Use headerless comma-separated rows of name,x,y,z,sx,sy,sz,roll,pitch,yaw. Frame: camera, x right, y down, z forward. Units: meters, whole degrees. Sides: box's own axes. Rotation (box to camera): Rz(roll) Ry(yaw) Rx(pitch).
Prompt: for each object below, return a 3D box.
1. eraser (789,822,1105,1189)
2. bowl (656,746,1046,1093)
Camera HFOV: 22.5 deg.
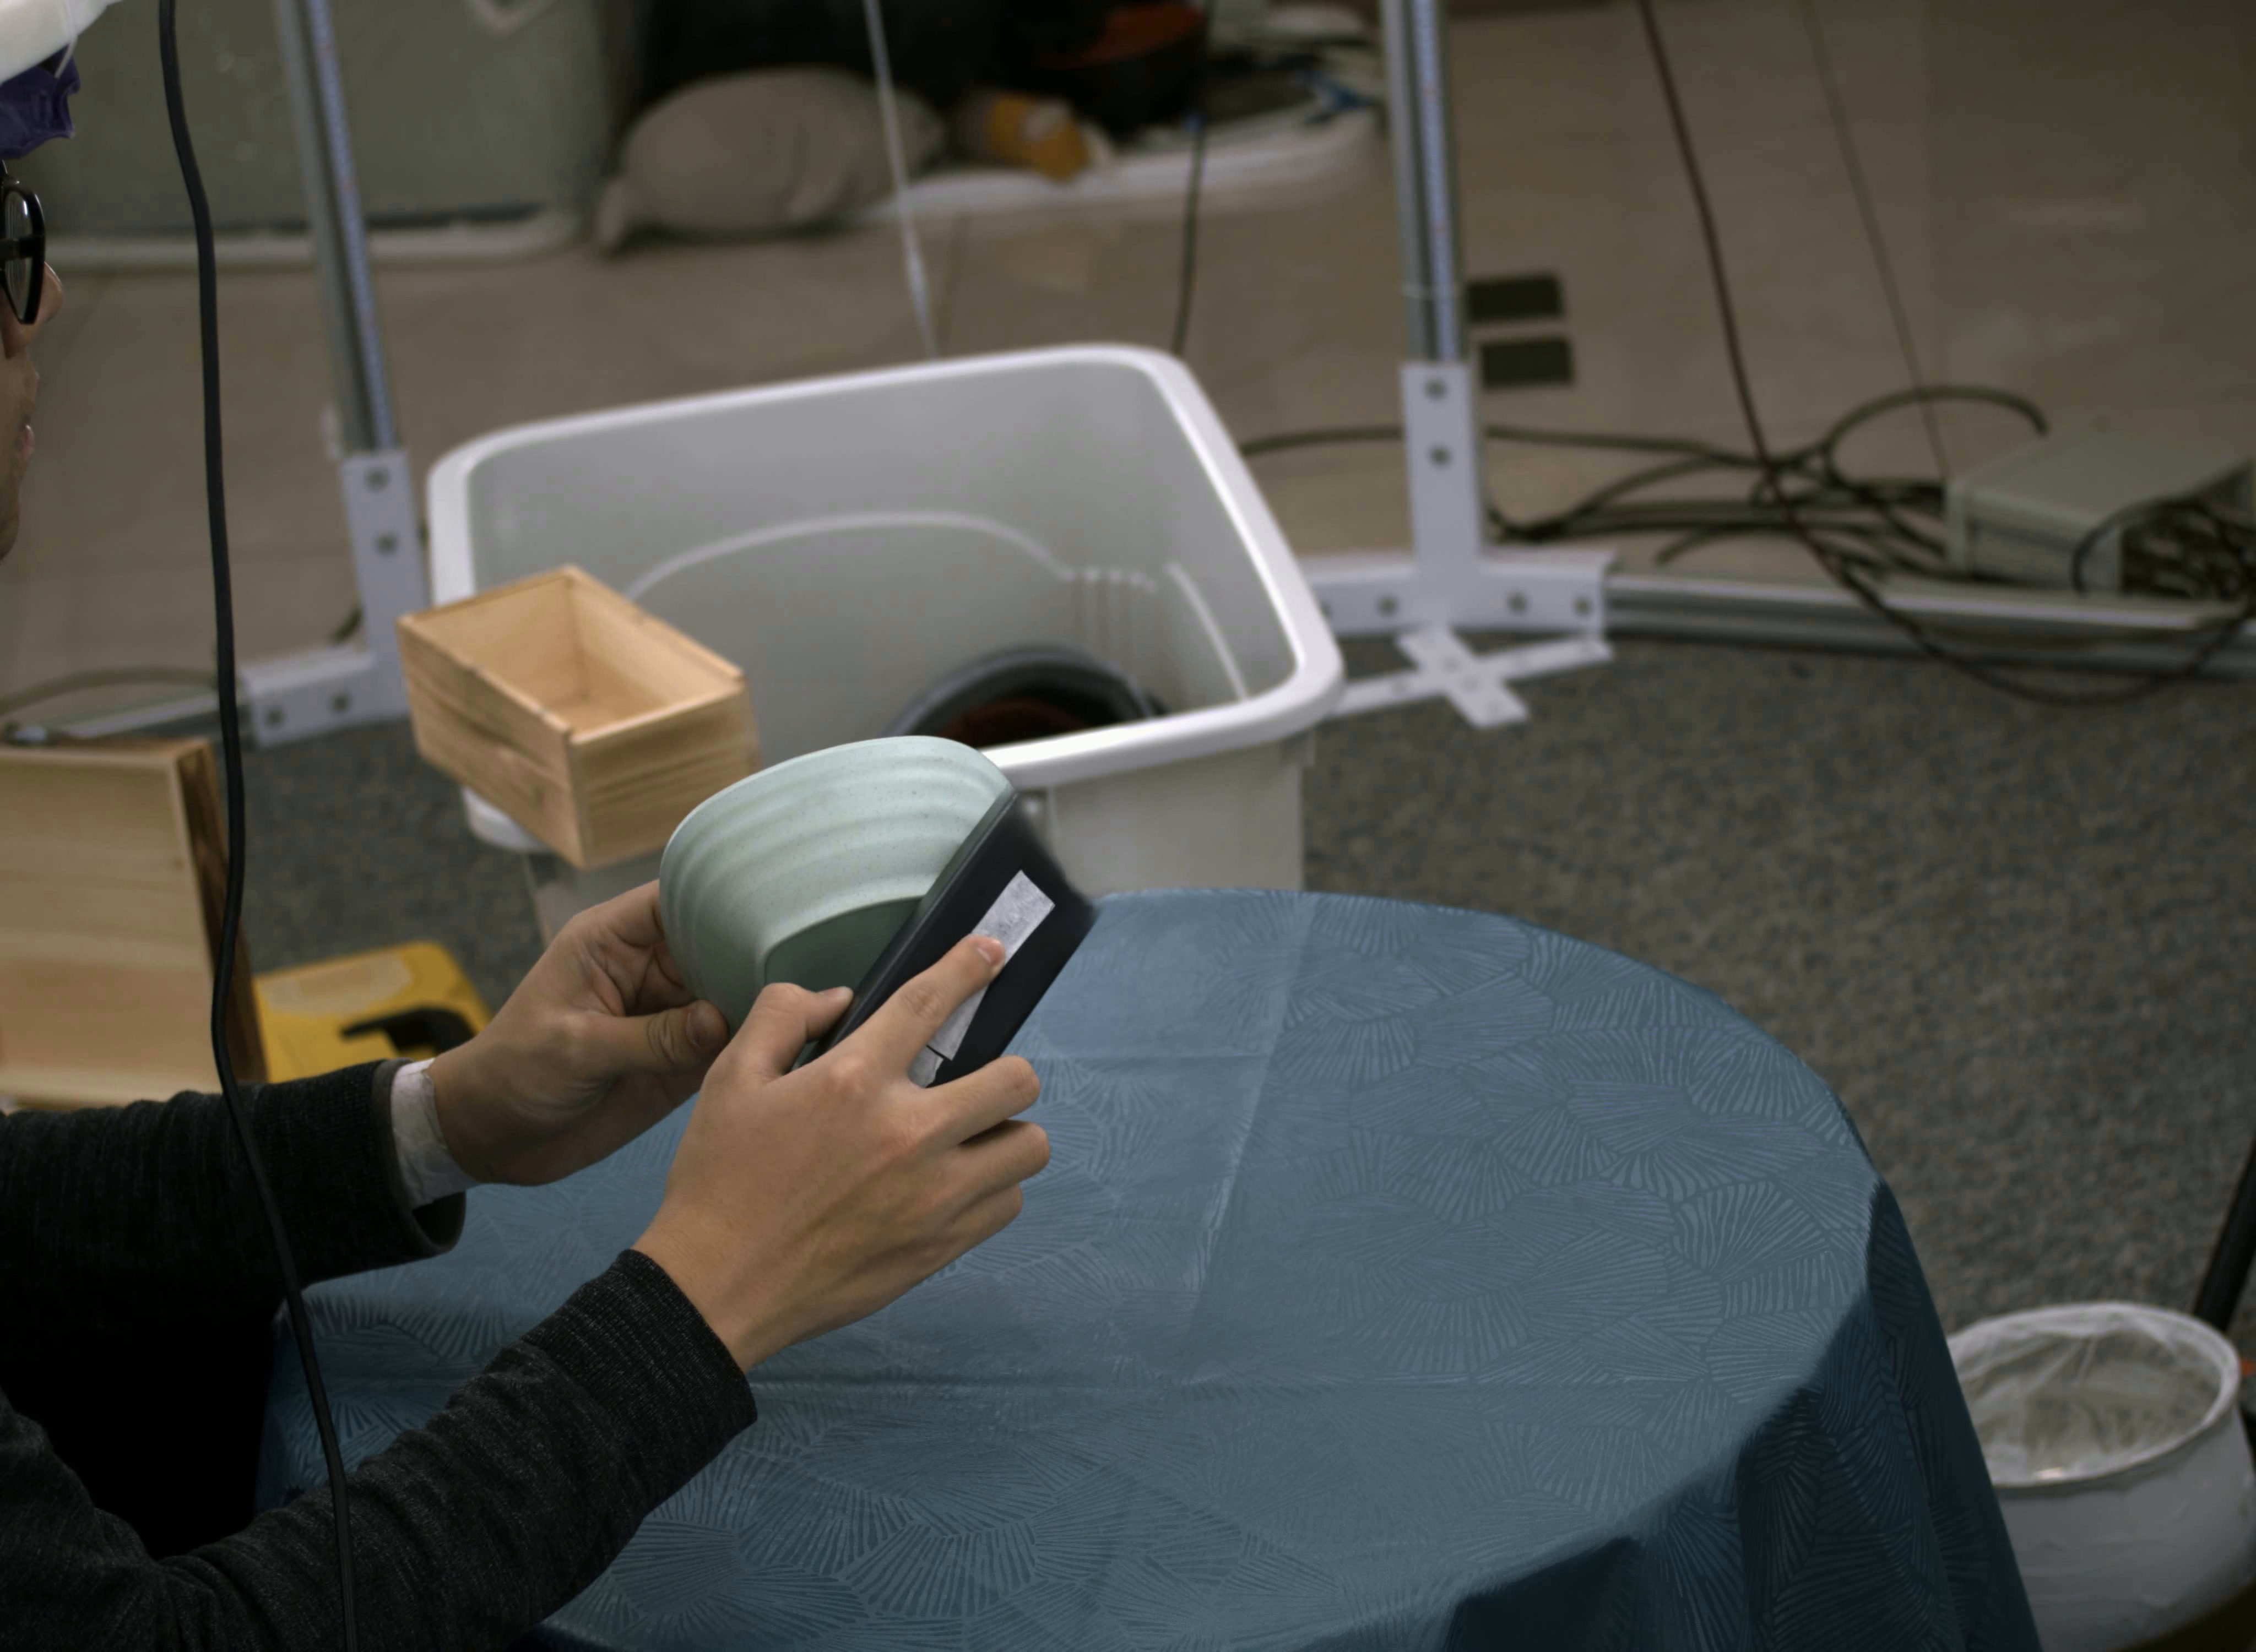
eraser,-0.062,0.061,1.941,0.124,0.053,0.031,-56,7,-25
bowl,-0.094,0.045,2.009,0.151,0.154,0.057,-8,41,-5
